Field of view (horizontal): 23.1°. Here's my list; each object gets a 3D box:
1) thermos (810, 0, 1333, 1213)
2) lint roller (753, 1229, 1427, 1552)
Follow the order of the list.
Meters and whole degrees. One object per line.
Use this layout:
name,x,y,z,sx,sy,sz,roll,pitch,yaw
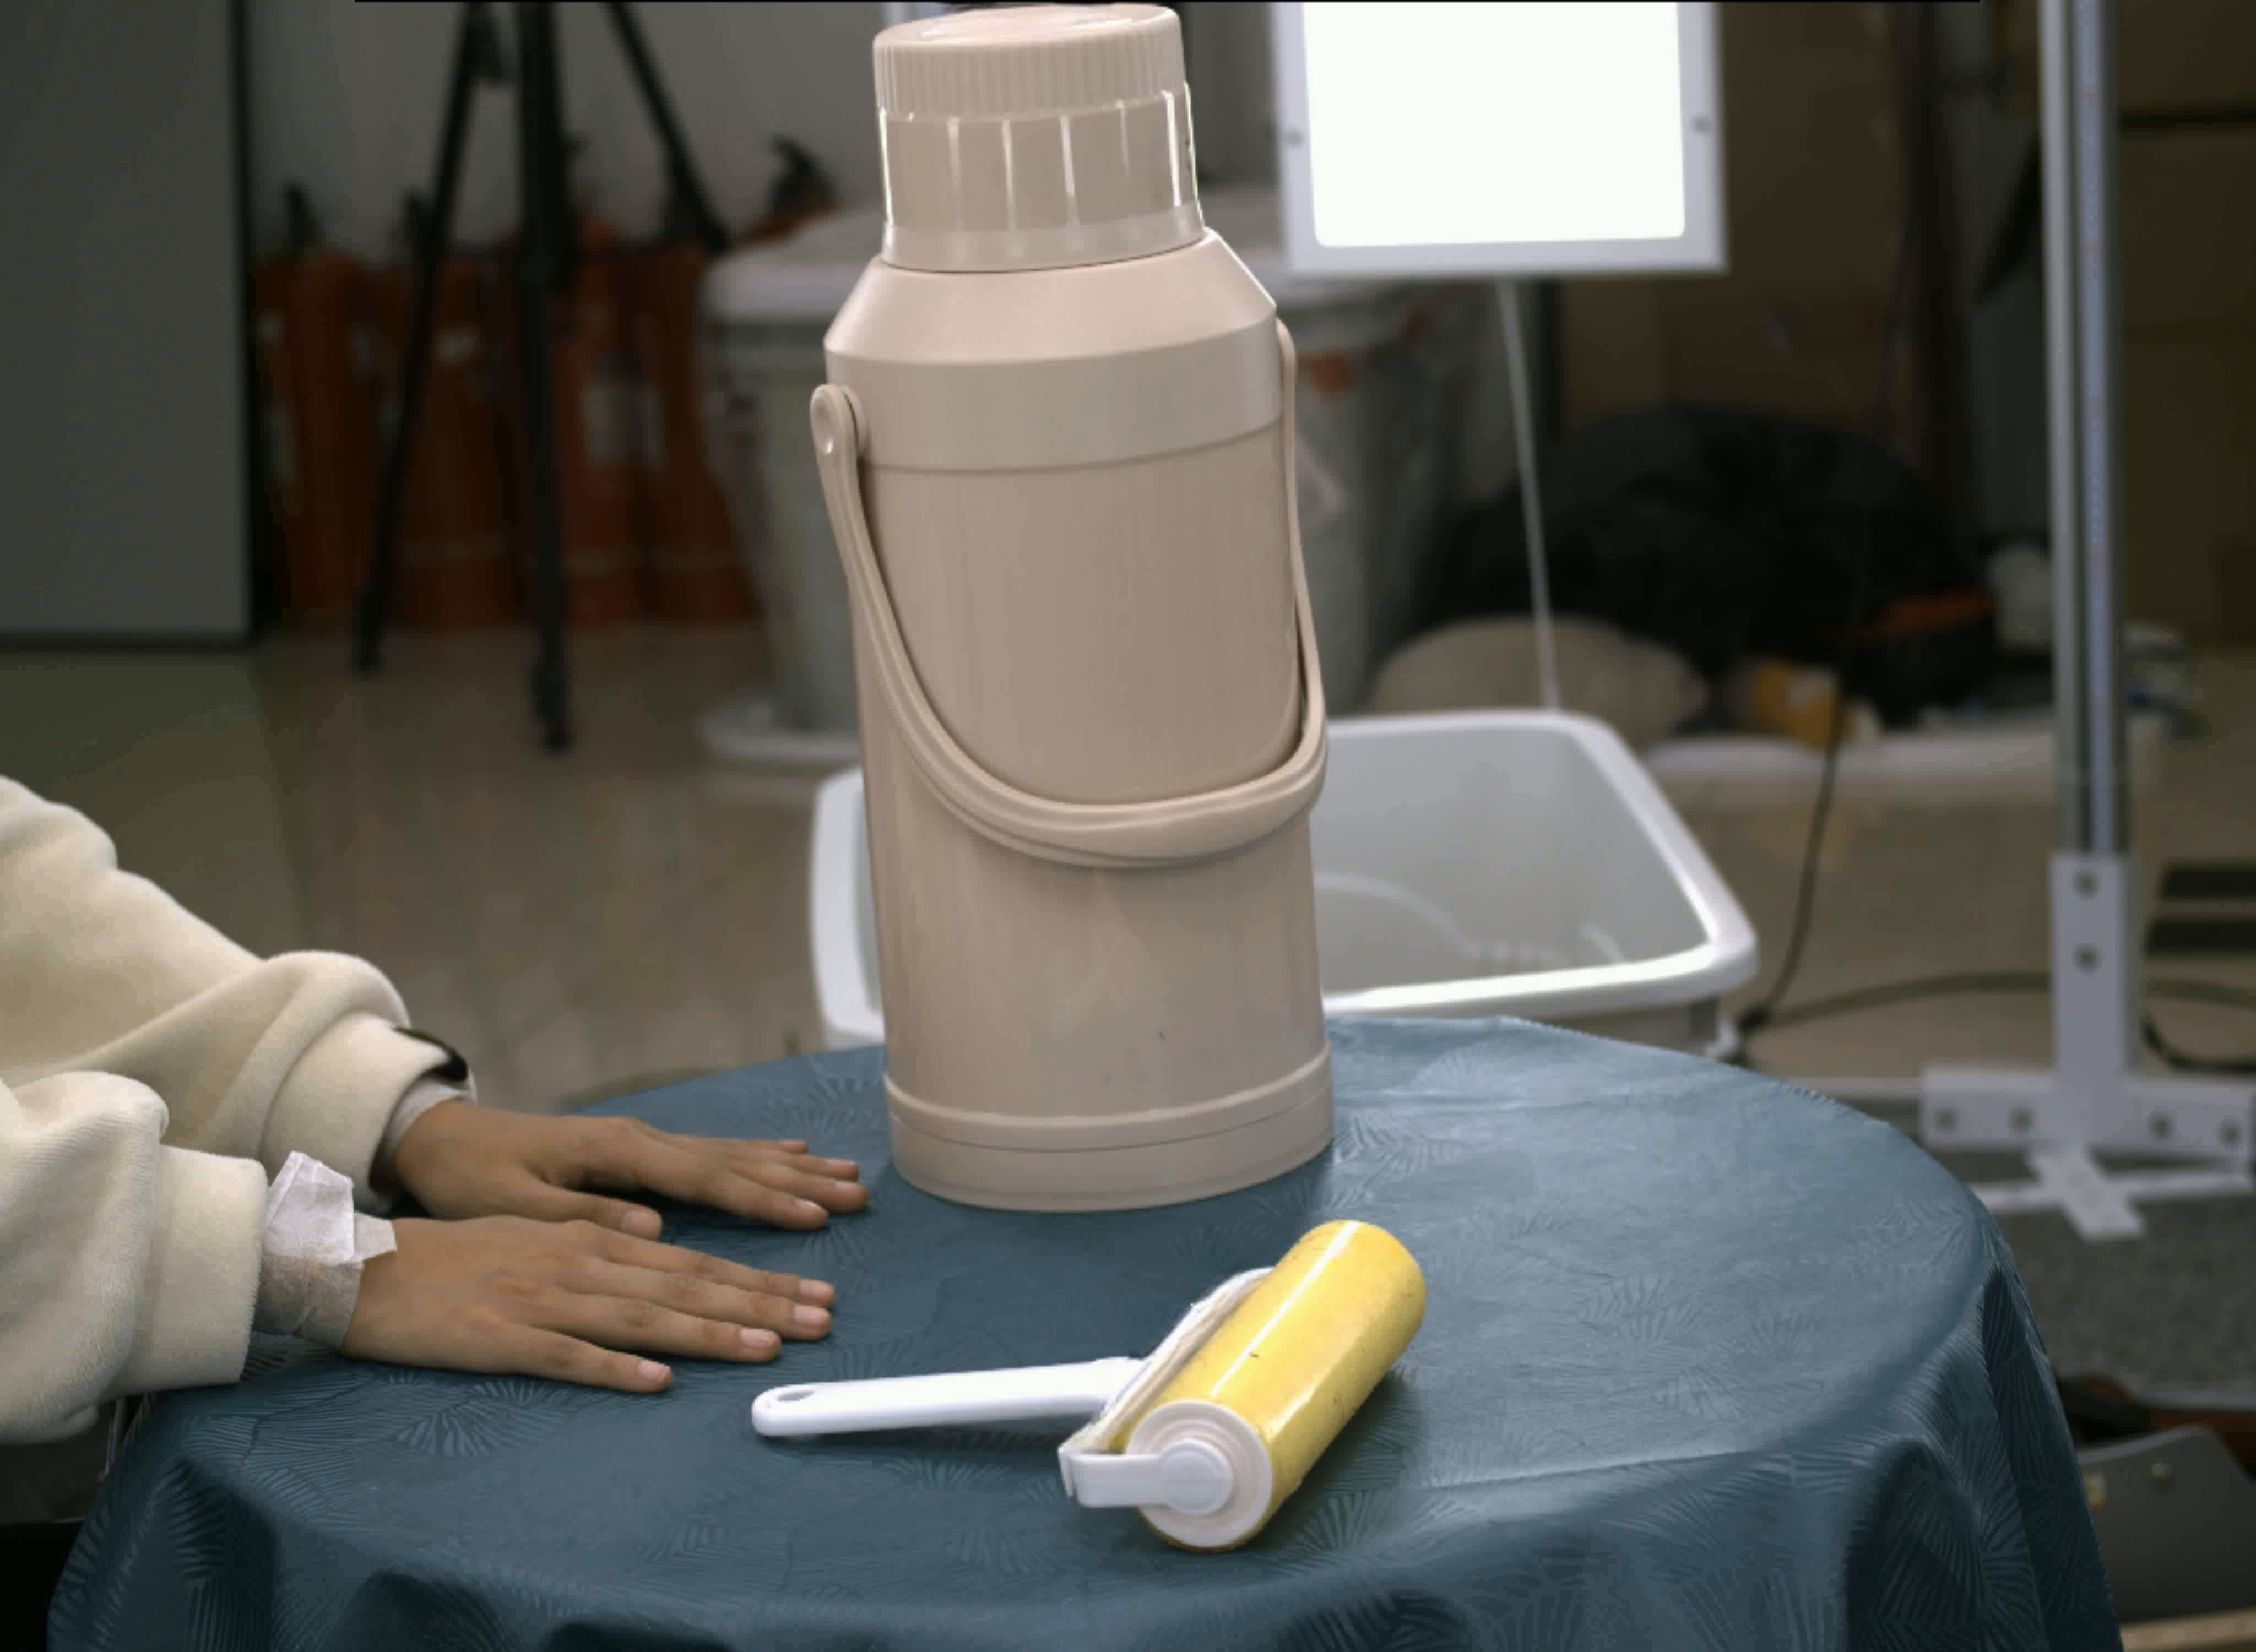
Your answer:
thermos,-0.025,-0.081,1.918,0.172,0.408,0.210,-11,15,-24
lint roller,-0.022,0.161,1.652,0.194,0.051,0.171,6,16,18
